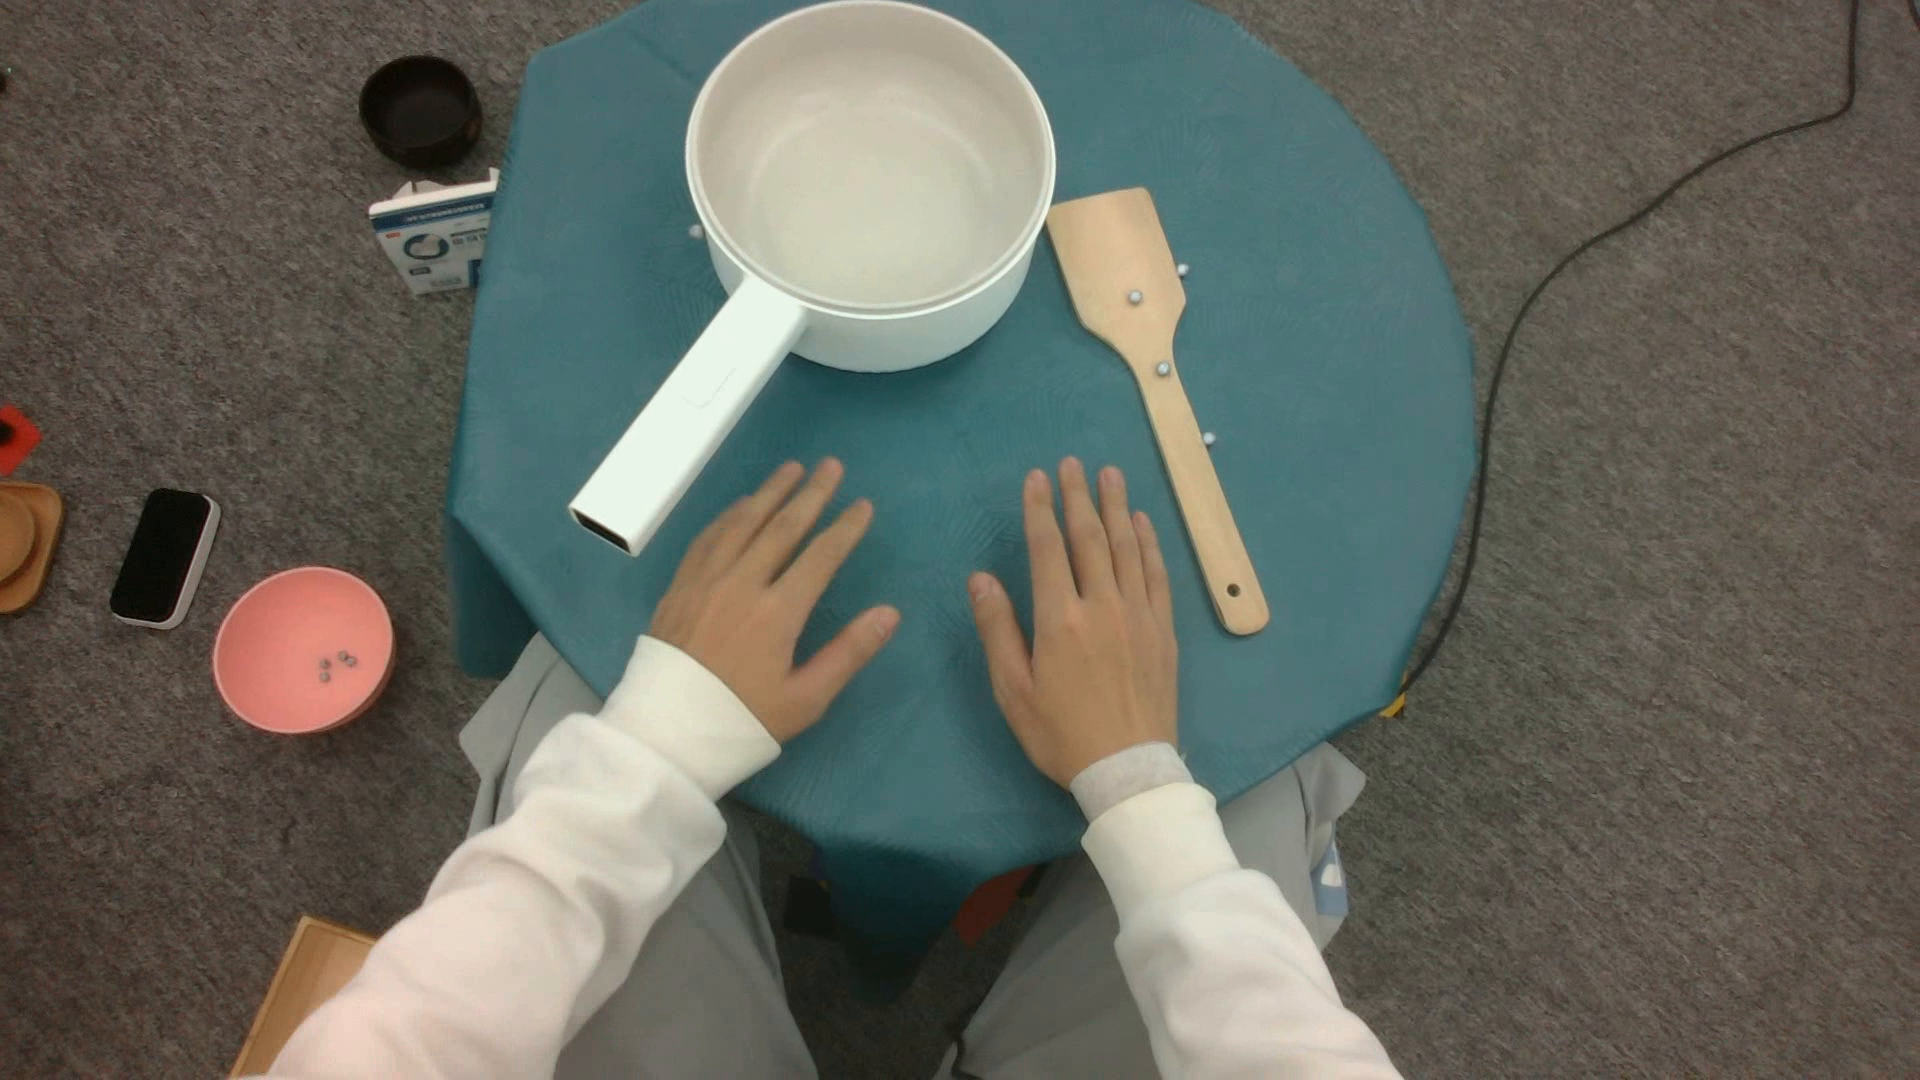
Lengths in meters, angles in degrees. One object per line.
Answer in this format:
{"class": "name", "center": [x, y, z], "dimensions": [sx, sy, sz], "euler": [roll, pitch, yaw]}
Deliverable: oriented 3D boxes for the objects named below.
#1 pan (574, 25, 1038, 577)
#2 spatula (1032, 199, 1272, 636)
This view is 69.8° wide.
{"class": "pan", "center": [-0.095, -0.126, 0.787], "dimensions": [0.201, 0.102, 0.356], "euler": [28, 72, 6]}
{"class": "spatula", "center": [0.123, -0.078, 0.827], "dimensions": [0.072, 0.010, 0.293], "euler": [-16, 71, -11]}
